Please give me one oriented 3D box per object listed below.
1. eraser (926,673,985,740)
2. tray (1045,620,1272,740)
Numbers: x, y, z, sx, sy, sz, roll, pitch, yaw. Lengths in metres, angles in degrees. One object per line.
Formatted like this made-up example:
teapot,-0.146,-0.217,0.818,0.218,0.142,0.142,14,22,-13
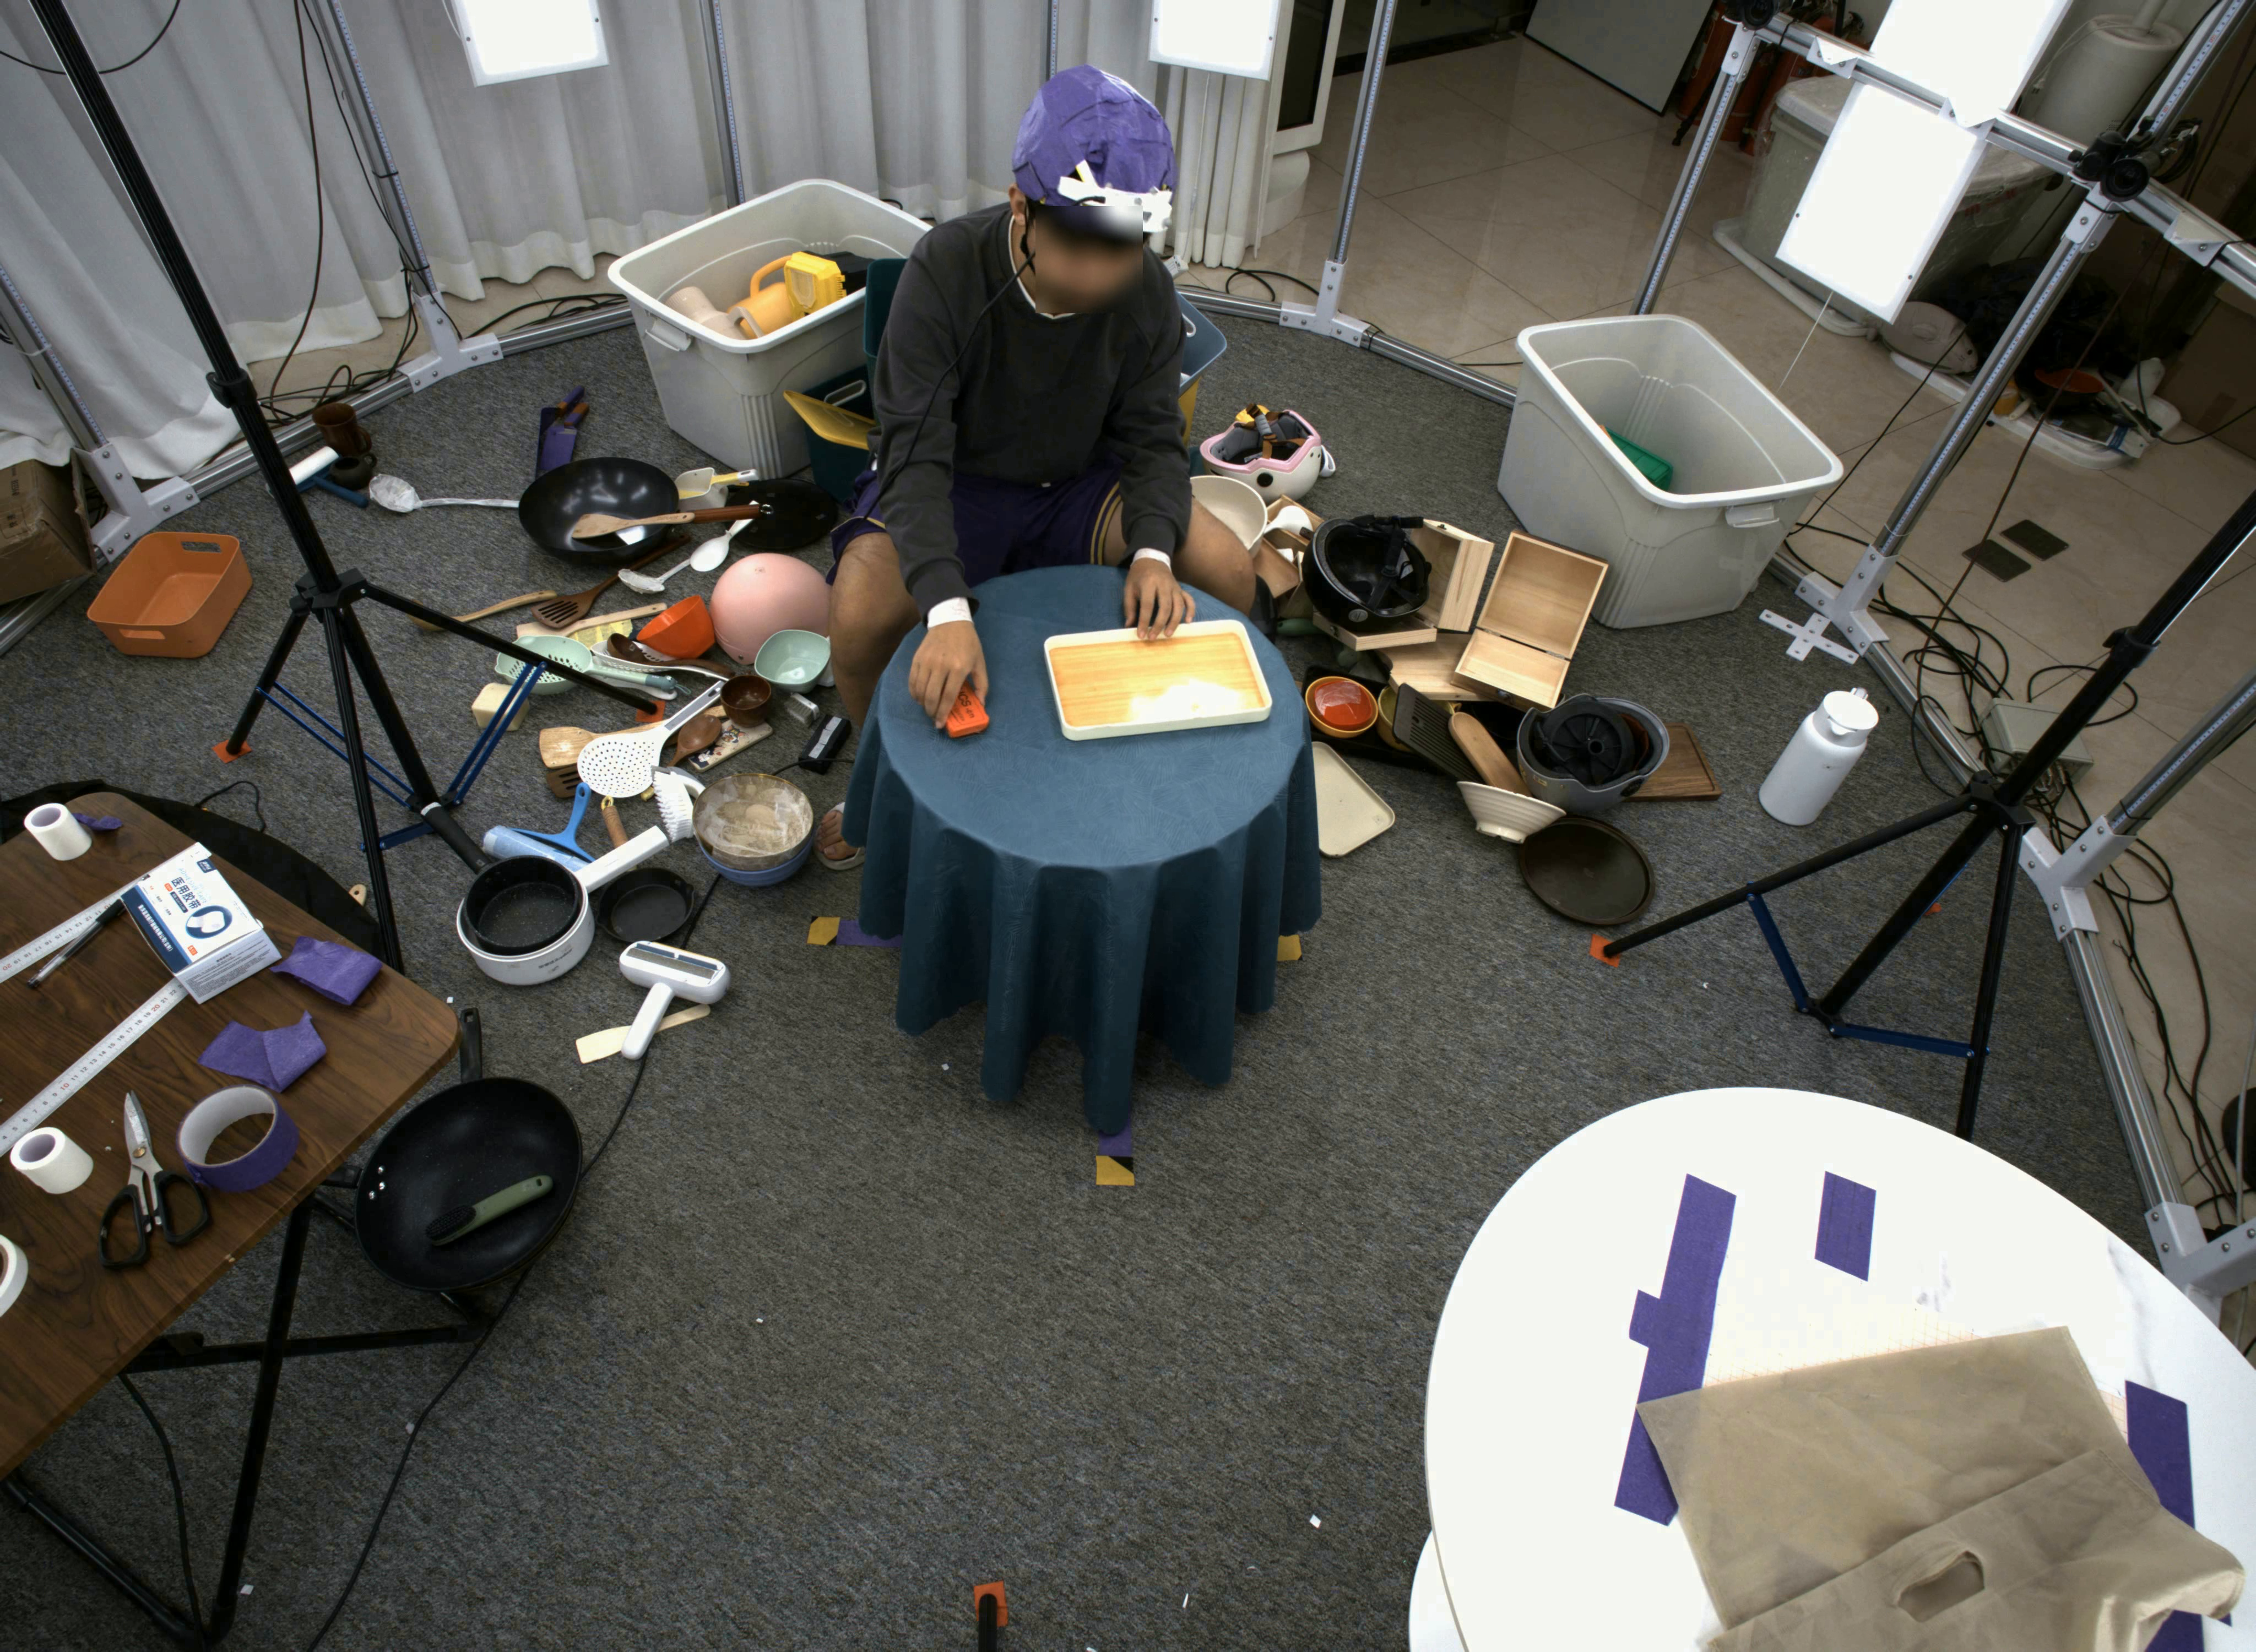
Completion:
eraser,-0.239,-0.166,1.780,0.059,0.022,0.110,-14,50,-16
tray,0.041,-0.212,1.836,0.300,0.027,0.196,-6,50,-9
